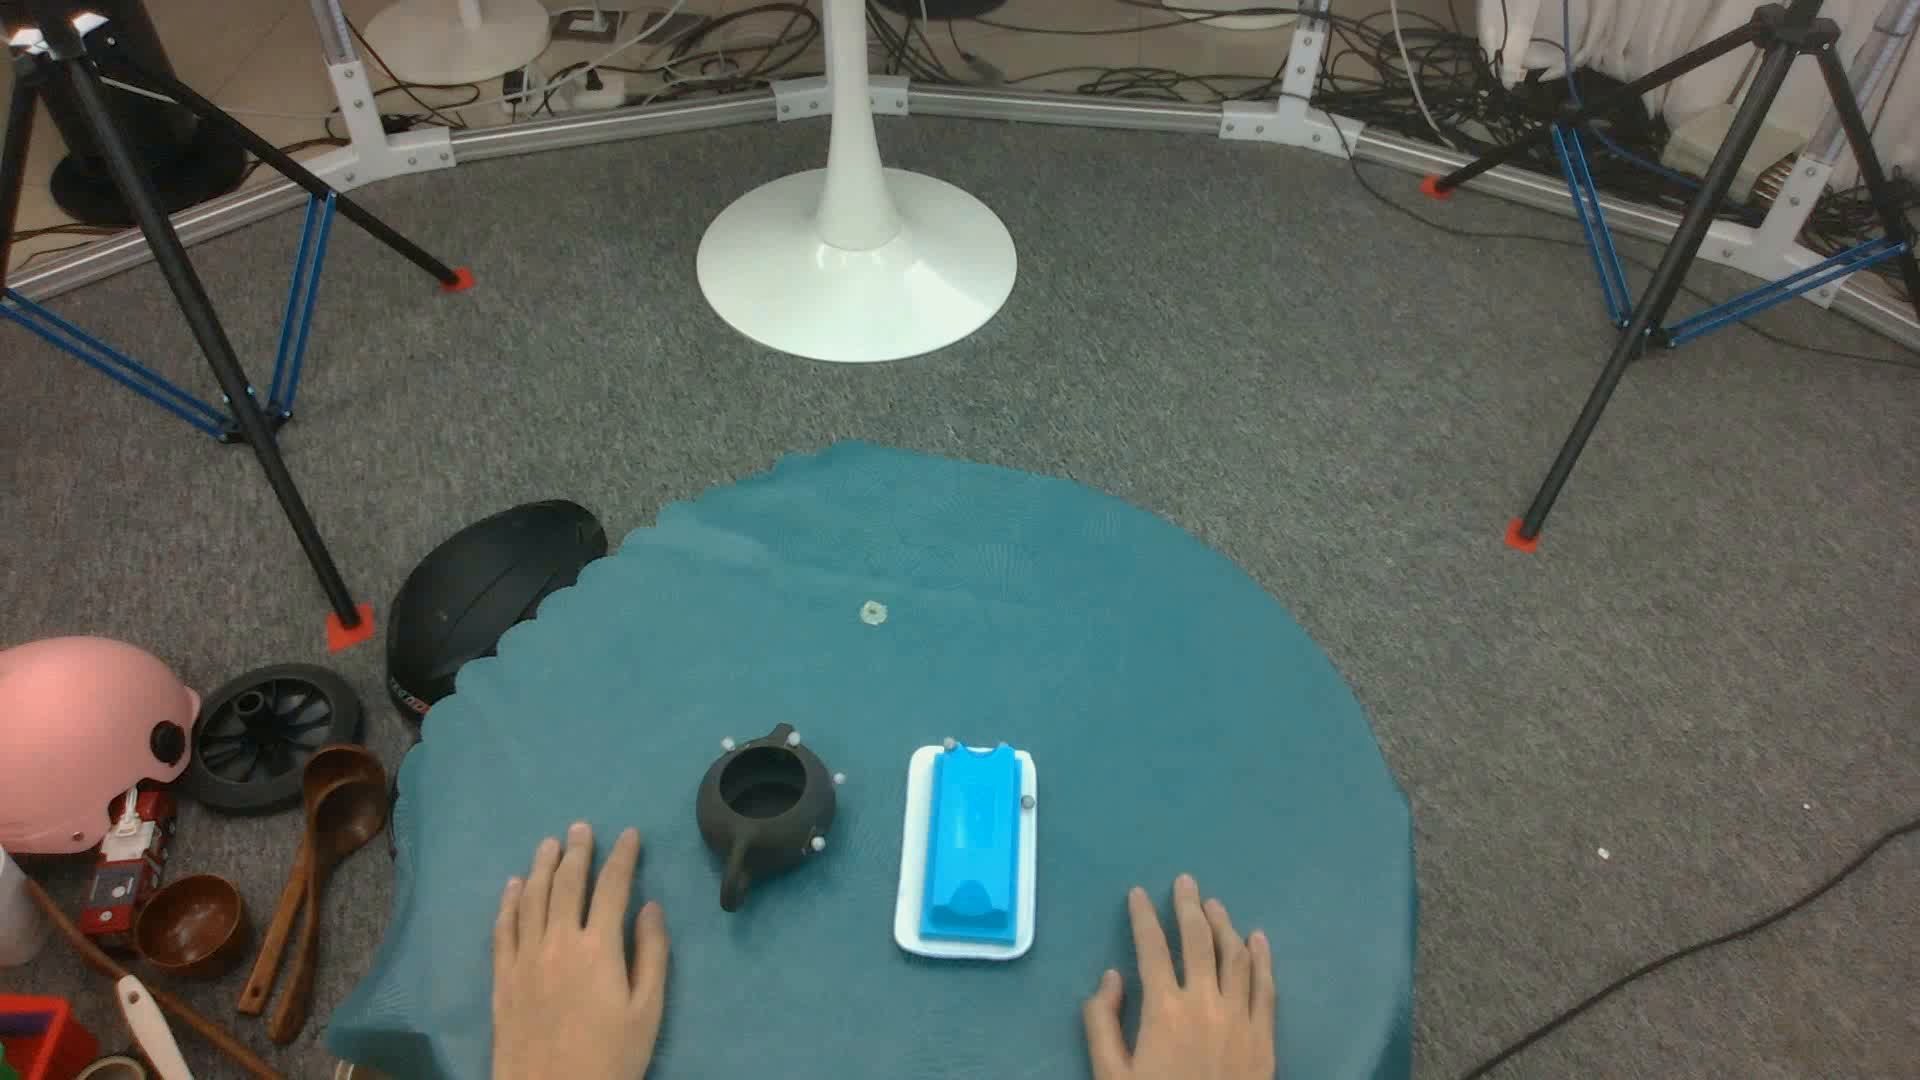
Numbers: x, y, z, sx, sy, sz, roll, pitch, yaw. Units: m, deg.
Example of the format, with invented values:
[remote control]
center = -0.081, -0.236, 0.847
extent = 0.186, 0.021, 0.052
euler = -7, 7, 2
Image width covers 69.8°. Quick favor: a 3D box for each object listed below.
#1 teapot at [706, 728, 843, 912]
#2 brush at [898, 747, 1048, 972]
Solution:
[teapot]
center = -0.116, 0.169, 0.827
extent = 0.083, 0.053, 0.115
euler = 11, 46, 13
[brush]
center = 0.010, 0.180, 0.814
extent = 0.084, 0.055, 0.144
euler = 2, 46, 5
